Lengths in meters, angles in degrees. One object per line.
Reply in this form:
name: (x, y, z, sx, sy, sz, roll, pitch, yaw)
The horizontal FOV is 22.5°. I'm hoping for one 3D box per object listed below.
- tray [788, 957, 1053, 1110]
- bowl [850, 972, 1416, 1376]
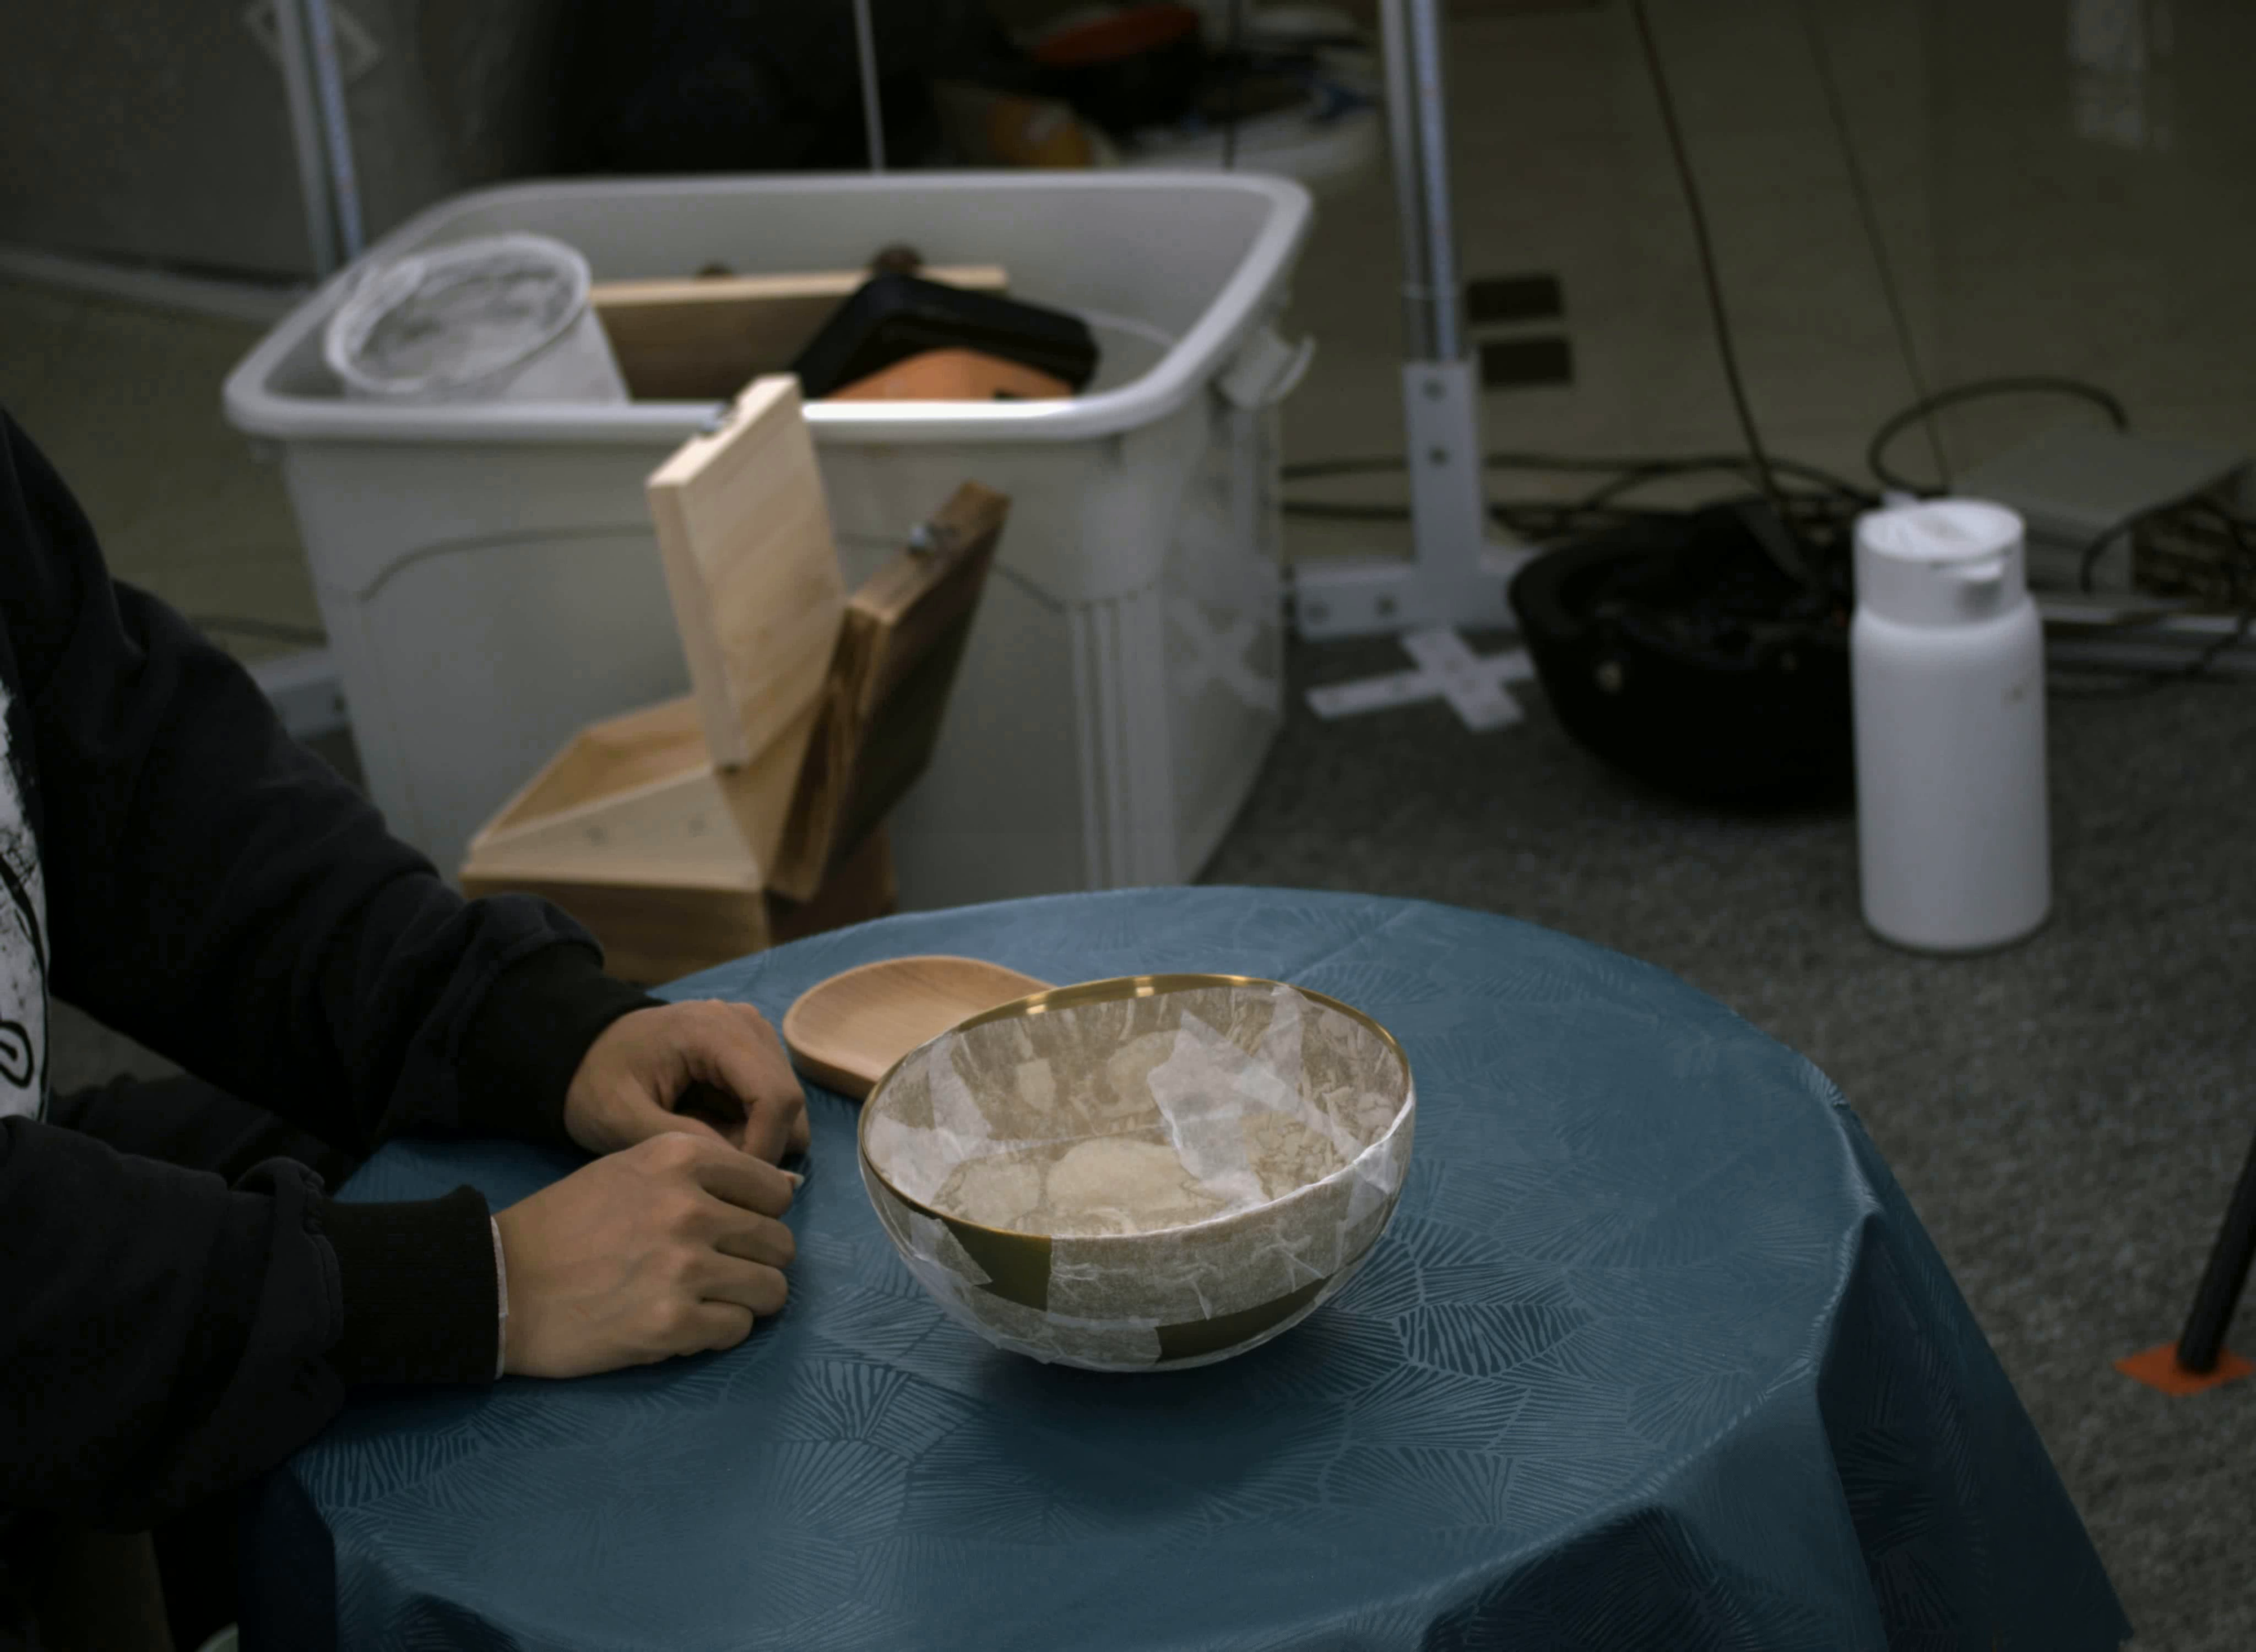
tray: (-0.039, 0.097, 2.235, 0.229, 0.020, 0.101, 19, 38, 40)
bowl: (0.006, 0.136, 2.047, 0.214, 0.096, 0.211, -6, 25, 3)
